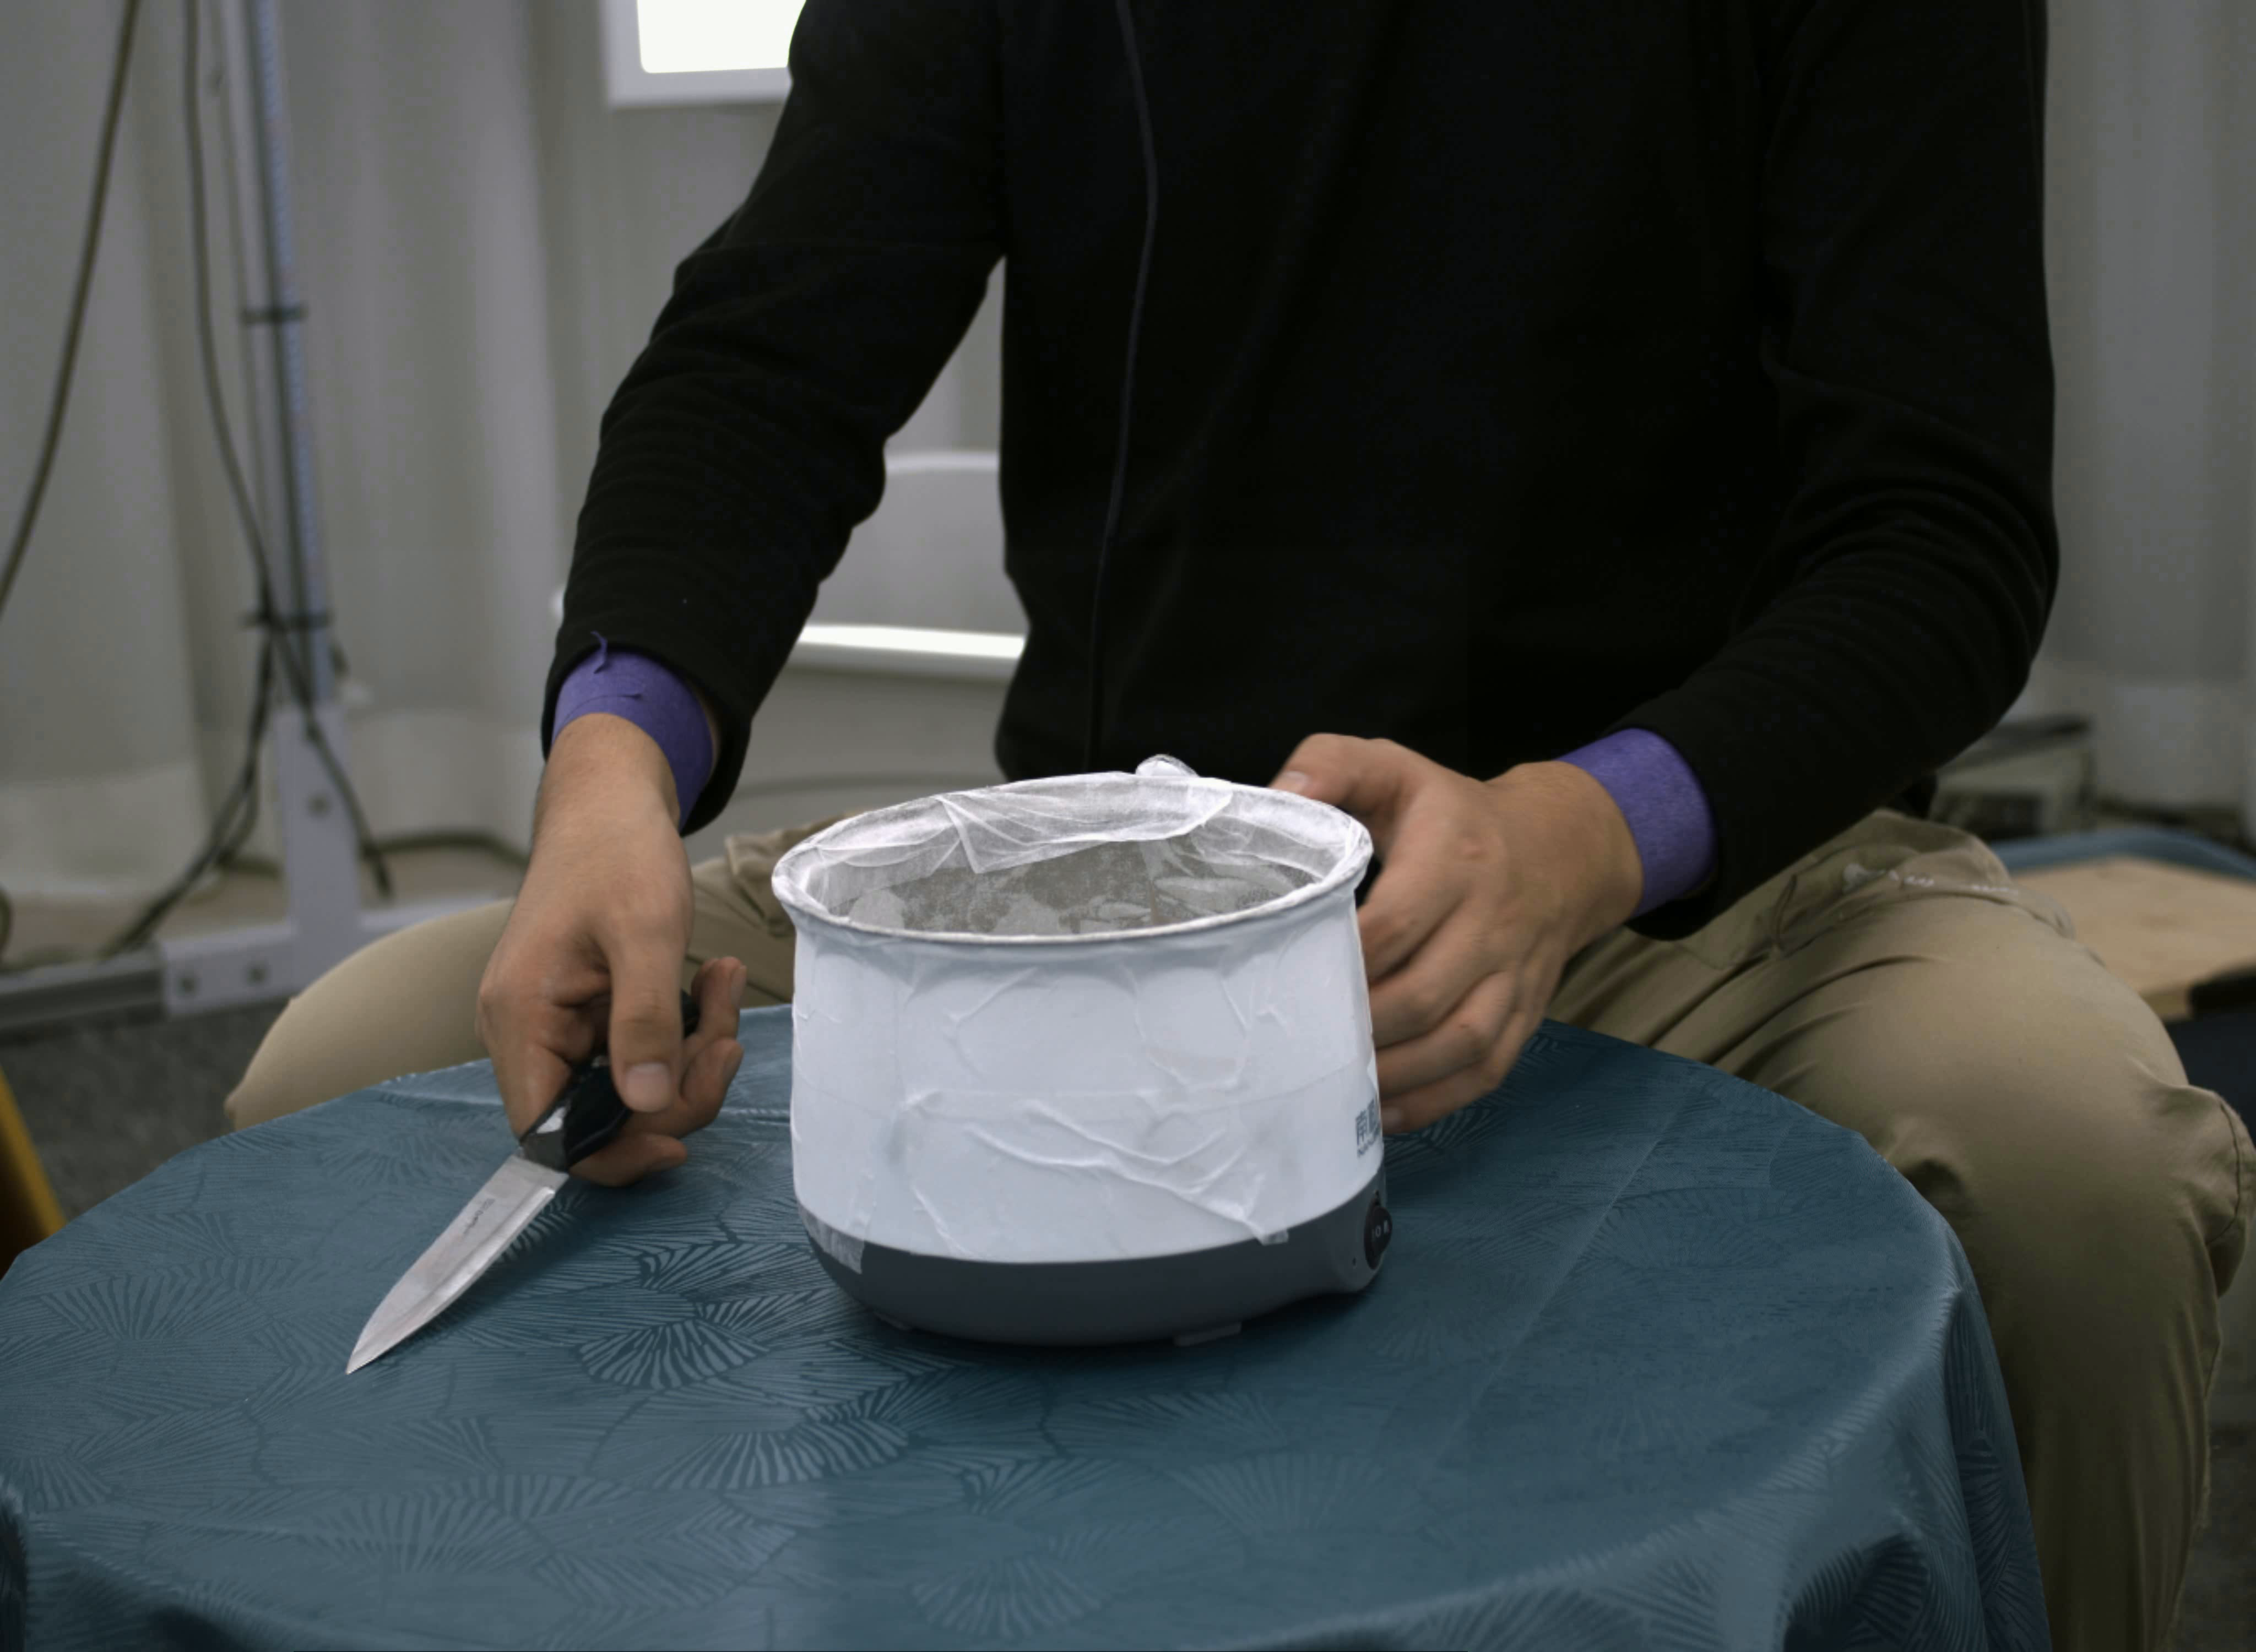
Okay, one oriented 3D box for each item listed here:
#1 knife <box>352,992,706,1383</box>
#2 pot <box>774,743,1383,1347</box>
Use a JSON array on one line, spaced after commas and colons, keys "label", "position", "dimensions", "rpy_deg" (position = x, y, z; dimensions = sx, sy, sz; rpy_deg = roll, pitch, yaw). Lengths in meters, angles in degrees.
[{"label": "knife", "position": [-0.186, 0.109, 1.689], "dimensions": [0.024, 0.016, 0.240], "rpy_deg": [21, 31, 11]}, {"label": "pot", "position": [-0.007, 0.060, 1.647], "dimensions": [0.178, 0.136, 0.235], "rpy_deg": [2, 16, 15]}]
